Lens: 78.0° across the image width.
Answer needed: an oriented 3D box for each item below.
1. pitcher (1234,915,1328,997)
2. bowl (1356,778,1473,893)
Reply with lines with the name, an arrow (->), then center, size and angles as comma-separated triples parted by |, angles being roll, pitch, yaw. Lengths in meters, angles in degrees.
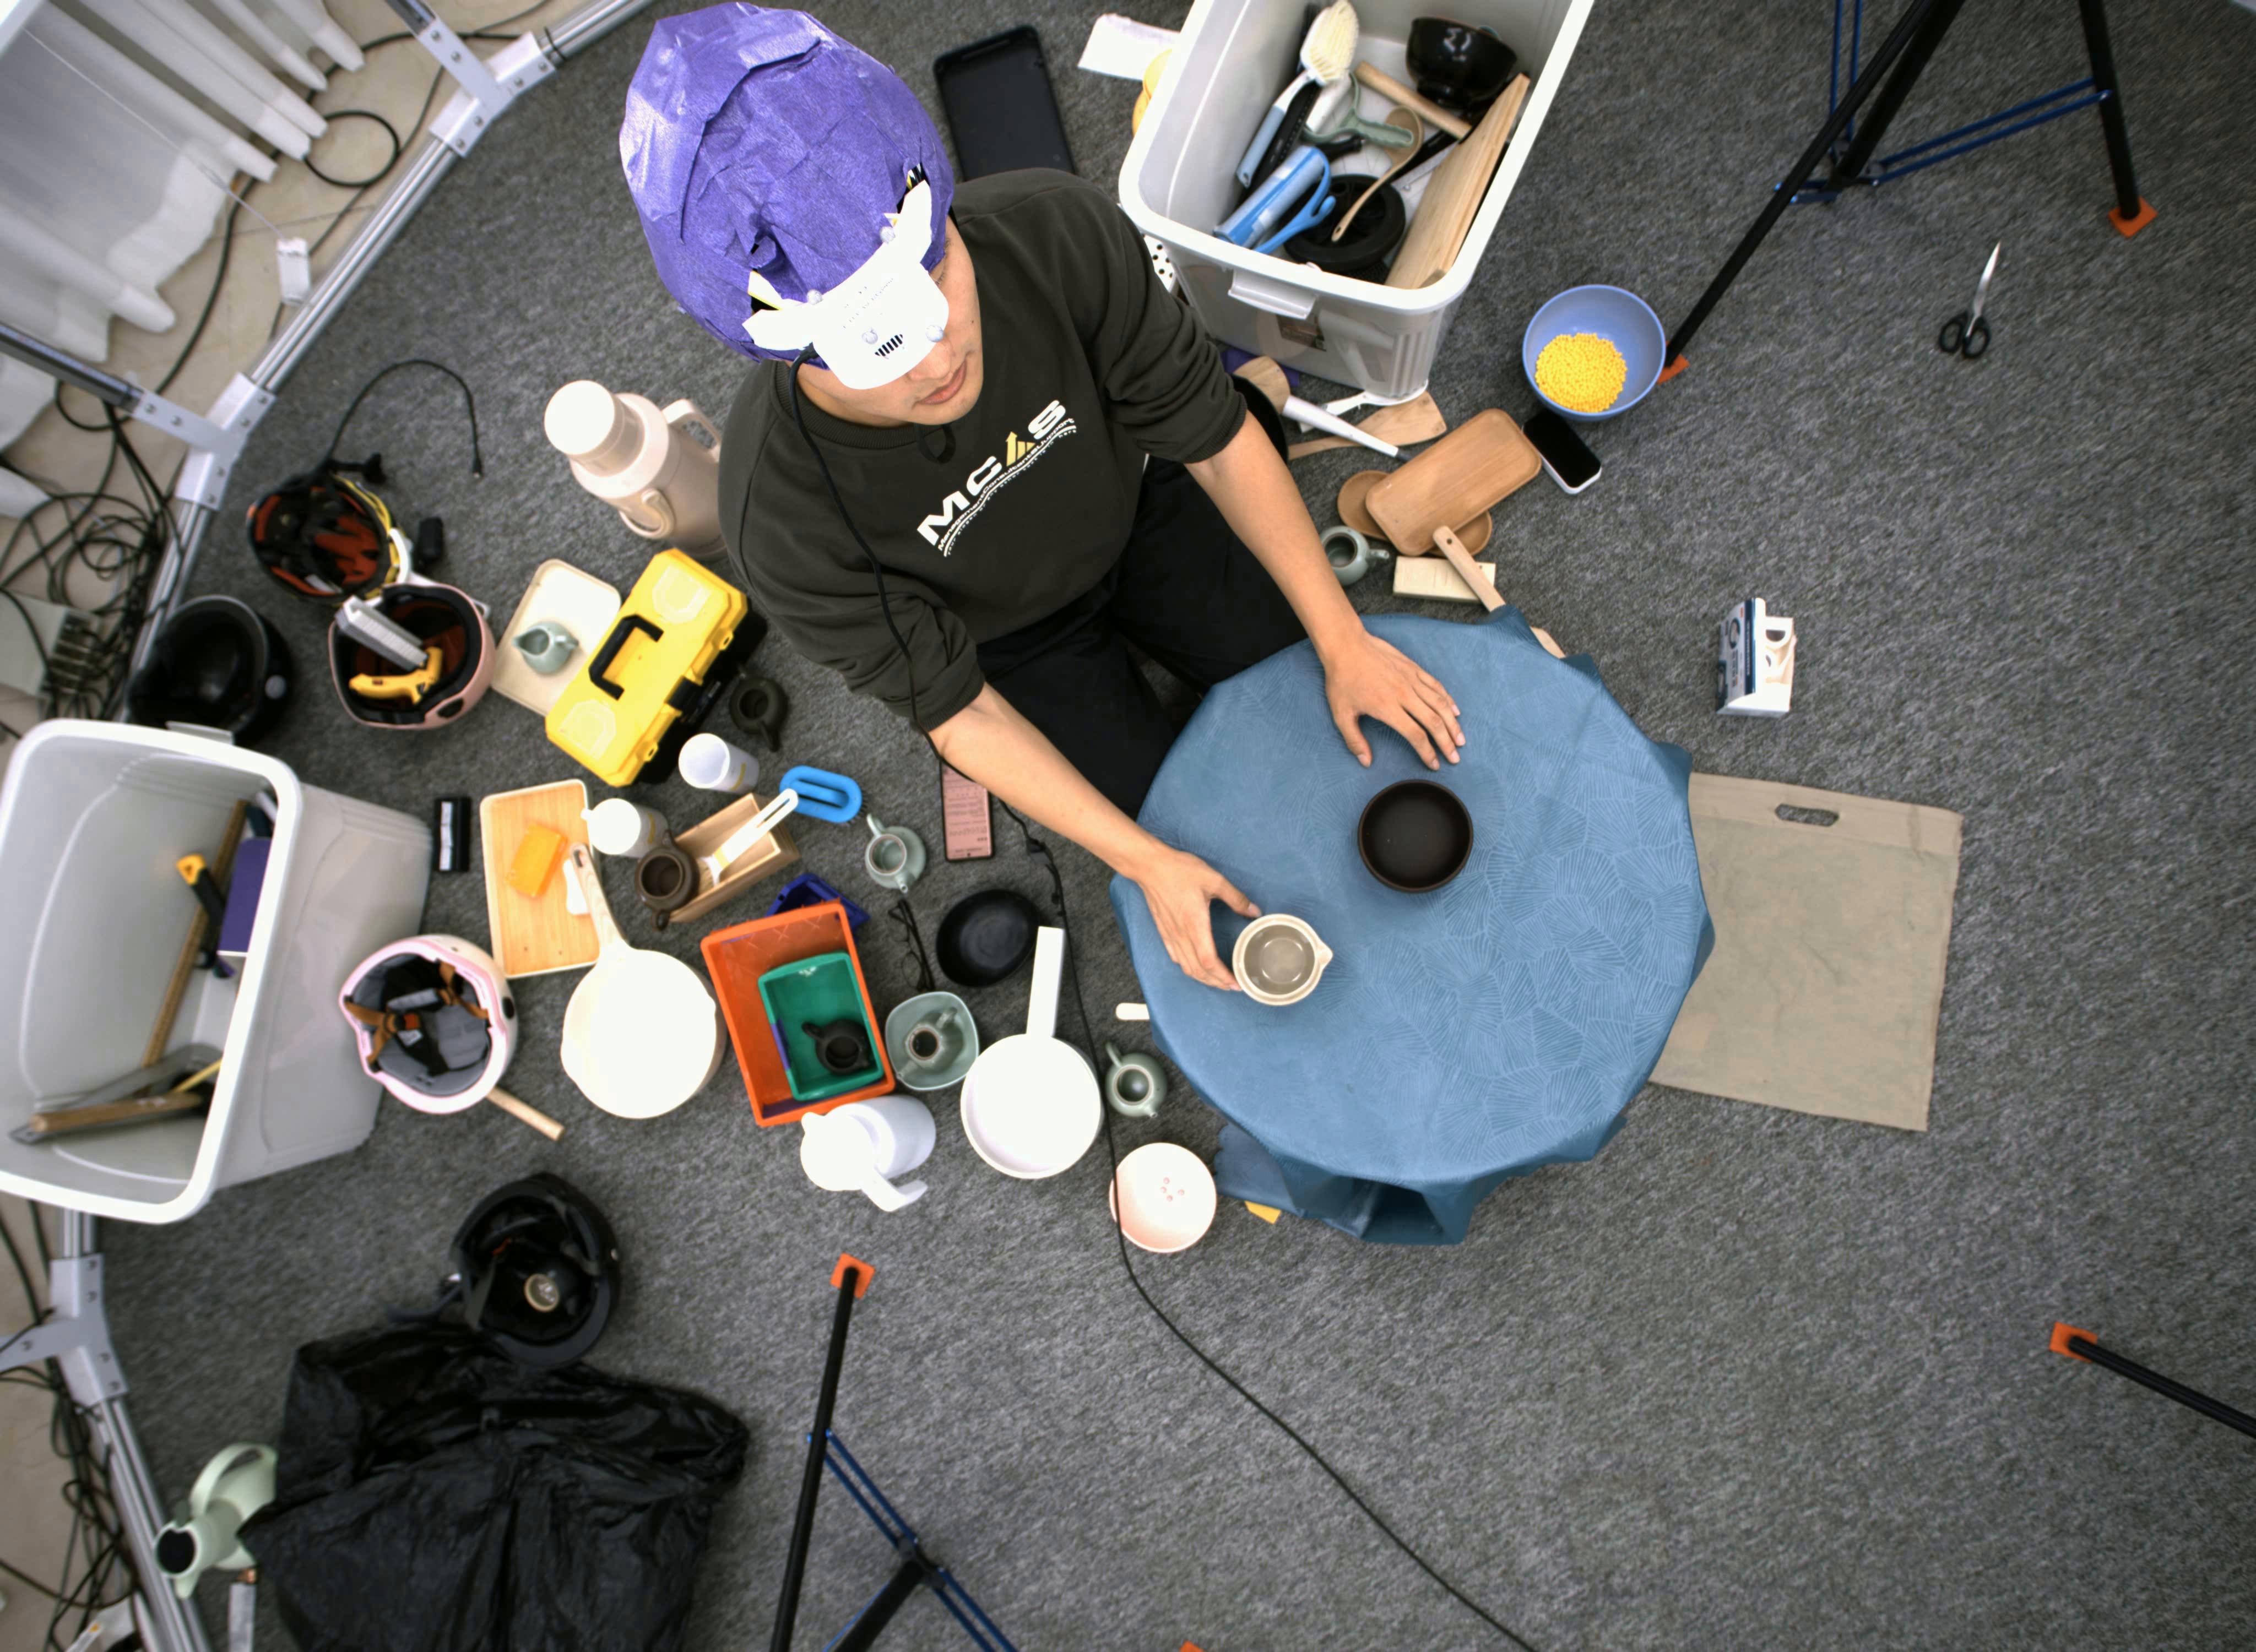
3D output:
pitcher -> 0.161, 0.135, 1.438 | 0.096, 0.071, 0.083 | -1, 84, 11
bowl -> 0.295, 0.010, 1.422 | 0.118, 0.070, 0.117 | -1, 88, 10
